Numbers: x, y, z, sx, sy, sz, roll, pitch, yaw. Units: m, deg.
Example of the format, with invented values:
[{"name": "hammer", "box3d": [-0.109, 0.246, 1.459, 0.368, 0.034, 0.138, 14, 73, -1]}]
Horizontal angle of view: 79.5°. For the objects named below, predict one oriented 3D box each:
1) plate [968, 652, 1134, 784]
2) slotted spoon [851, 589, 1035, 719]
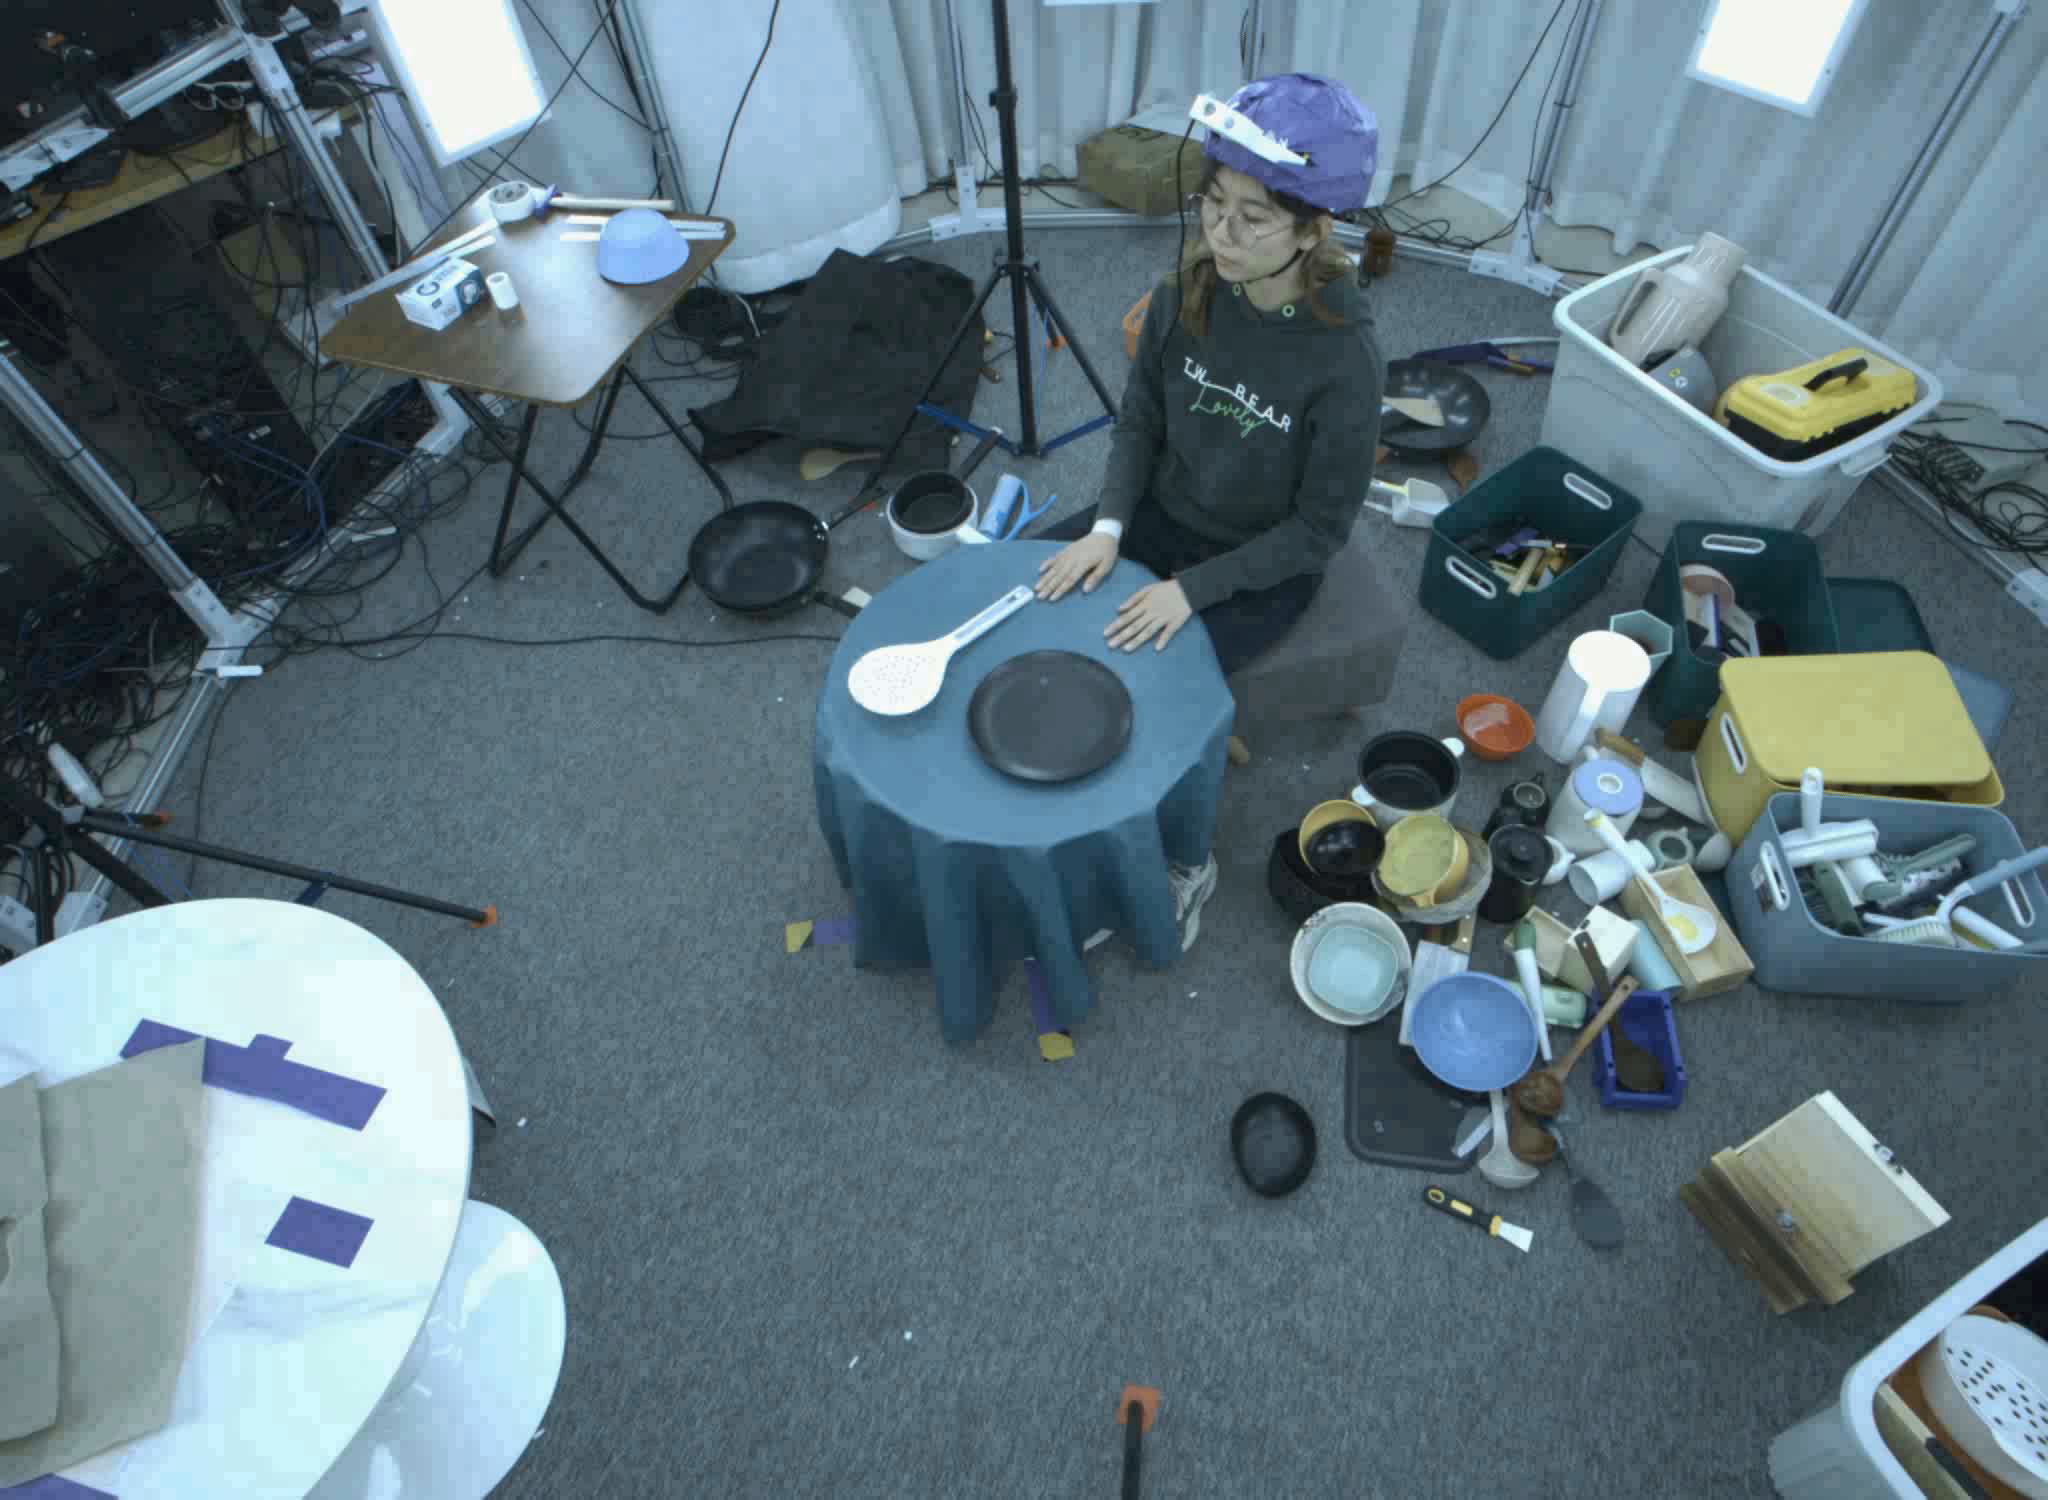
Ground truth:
[{"name": "plate", "box3d": [0.041, -0.045, 1.814, 0.244, 0.023, 0.242, 0, 55, 2]}, {"name": "slotted spoon", "box3d": [-0.114, -0.155, 1.882, 0.134, 0.046, 0.352, 39, 64, 23]}]
